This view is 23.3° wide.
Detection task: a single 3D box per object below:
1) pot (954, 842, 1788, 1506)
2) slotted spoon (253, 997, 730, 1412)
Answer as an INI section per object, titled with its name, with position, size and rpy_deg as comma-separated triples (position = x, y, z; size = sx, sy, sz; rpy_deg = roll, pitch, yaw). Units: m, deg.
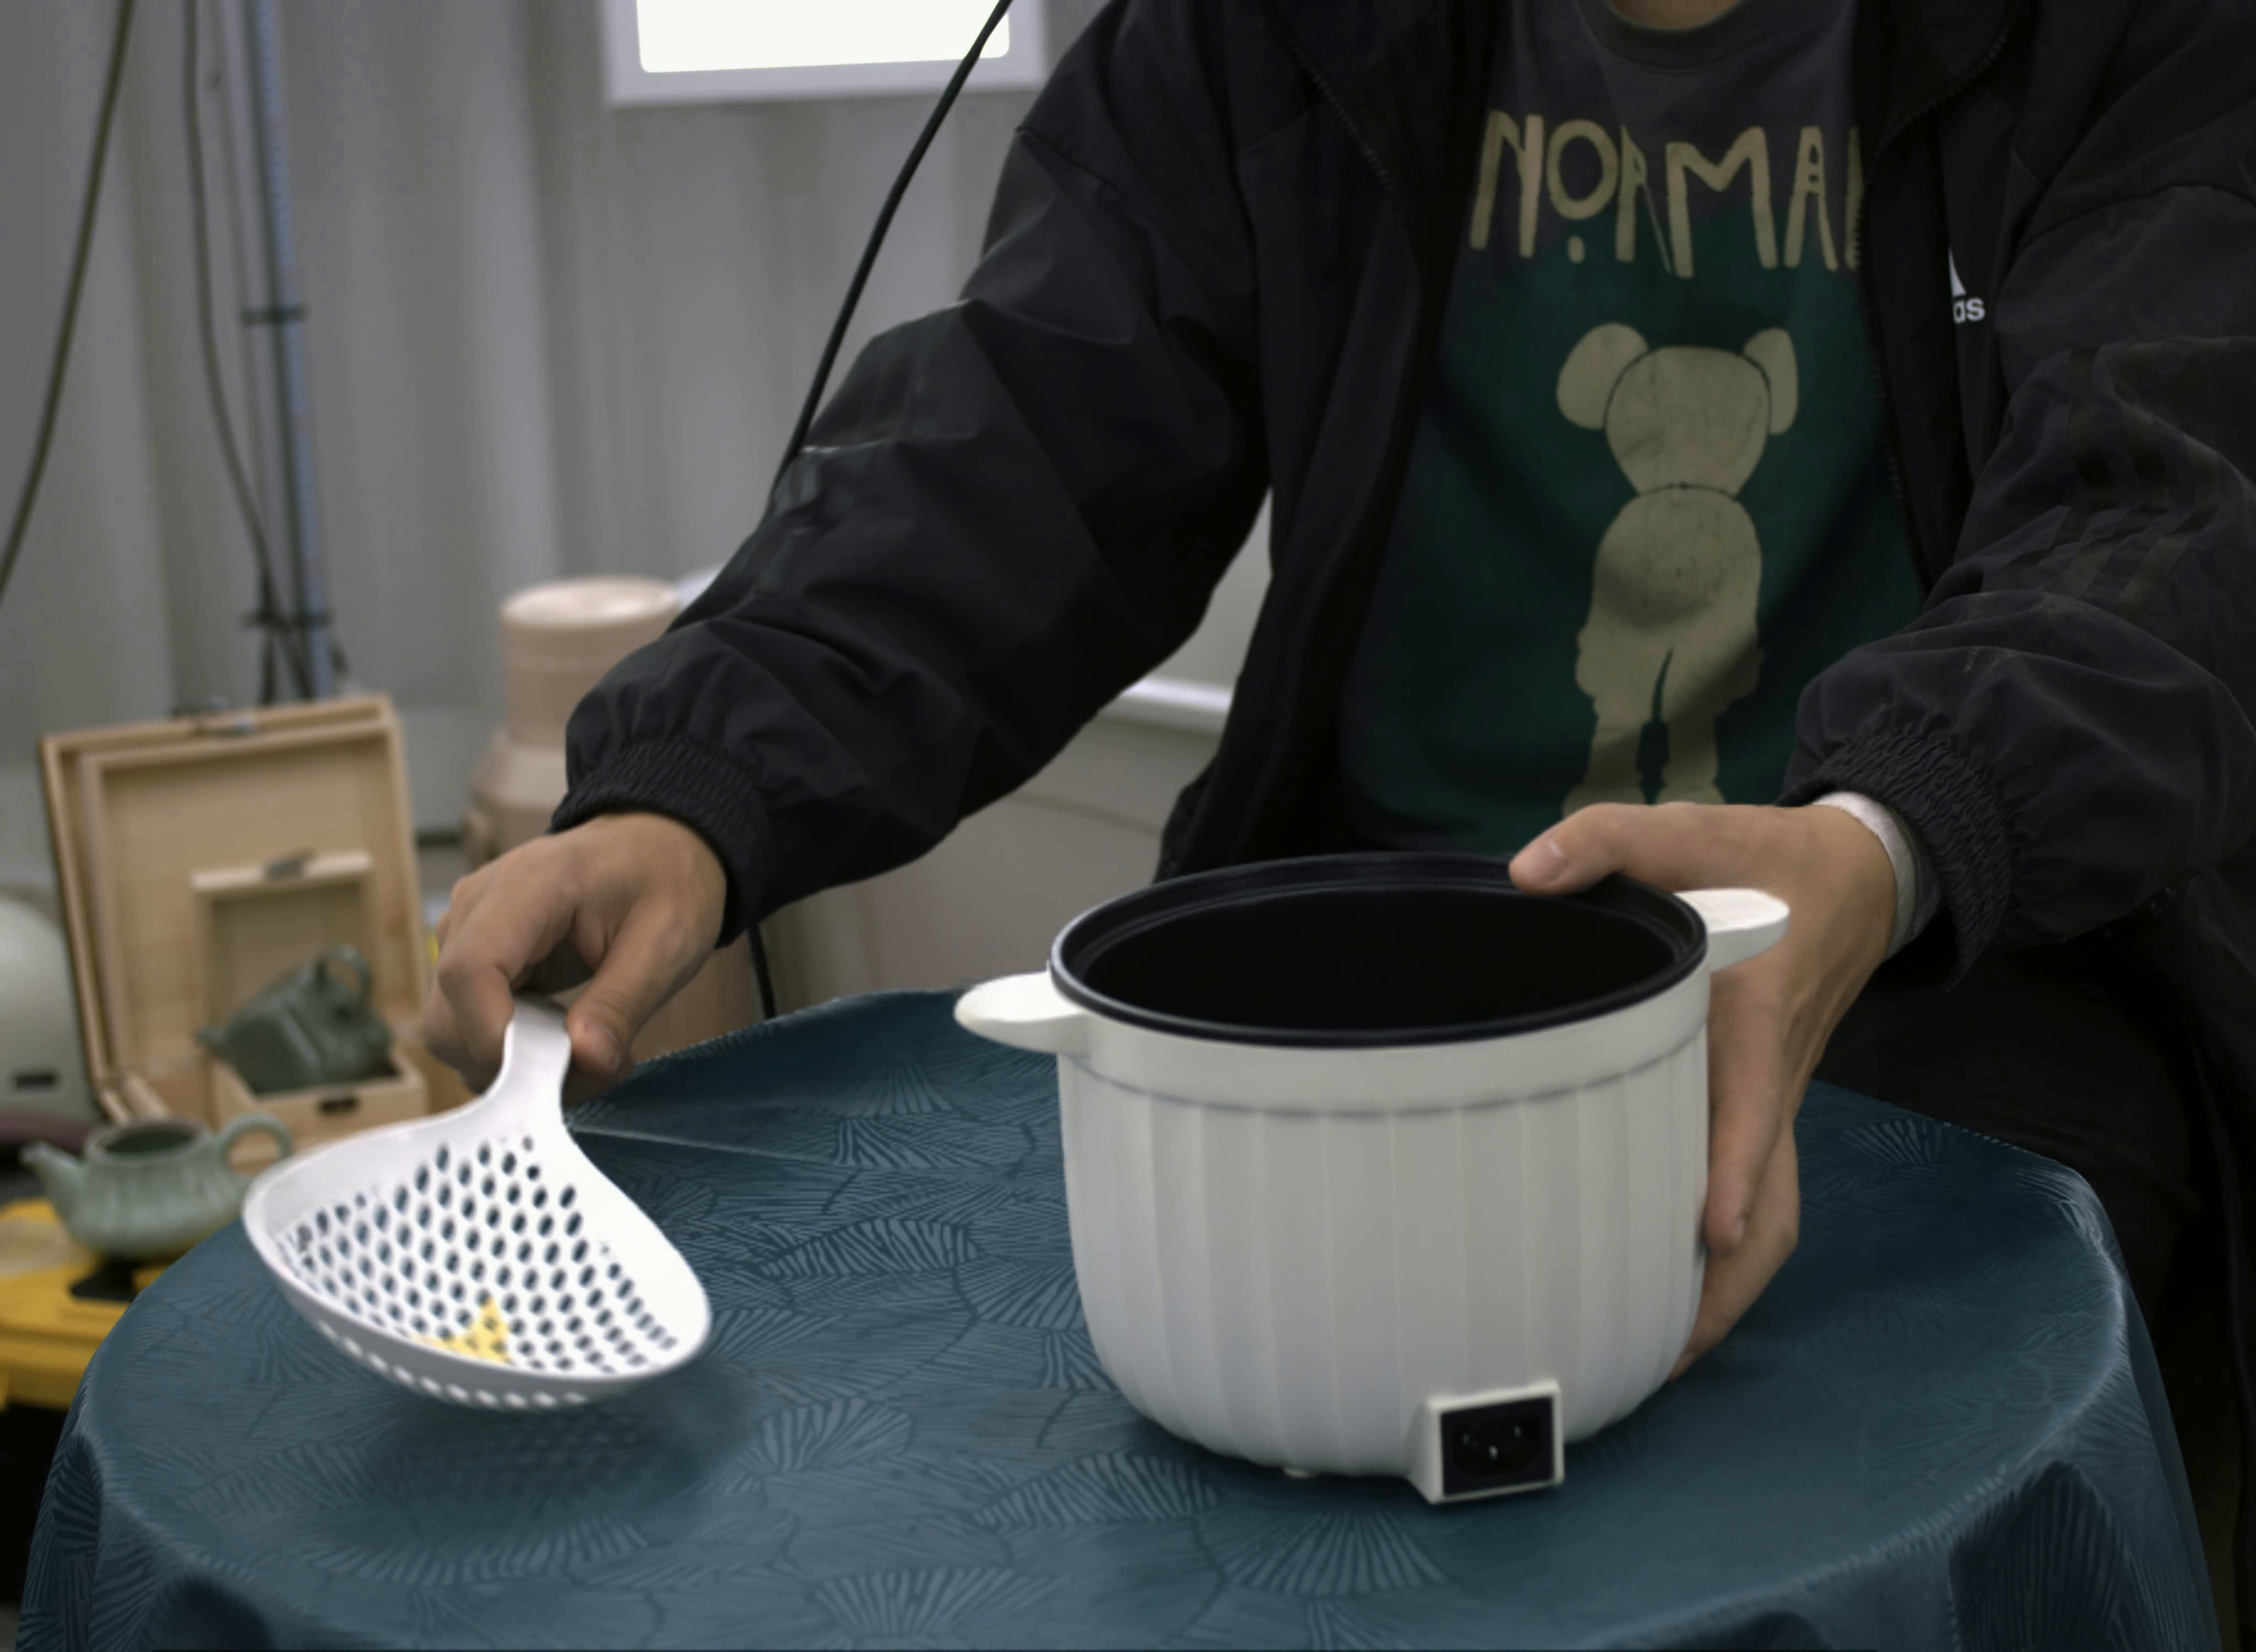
[pot]
position = 0.068, 0.093, 1.514
size = 0.239, 0.142, 0.192
rpy_deg = -6, 18, -15
[slotted spoon]
position = -0.186, 0.100, 1.643
size = 0.136, 0.050, 0.351
rpy_deg = 13, 19, -6
